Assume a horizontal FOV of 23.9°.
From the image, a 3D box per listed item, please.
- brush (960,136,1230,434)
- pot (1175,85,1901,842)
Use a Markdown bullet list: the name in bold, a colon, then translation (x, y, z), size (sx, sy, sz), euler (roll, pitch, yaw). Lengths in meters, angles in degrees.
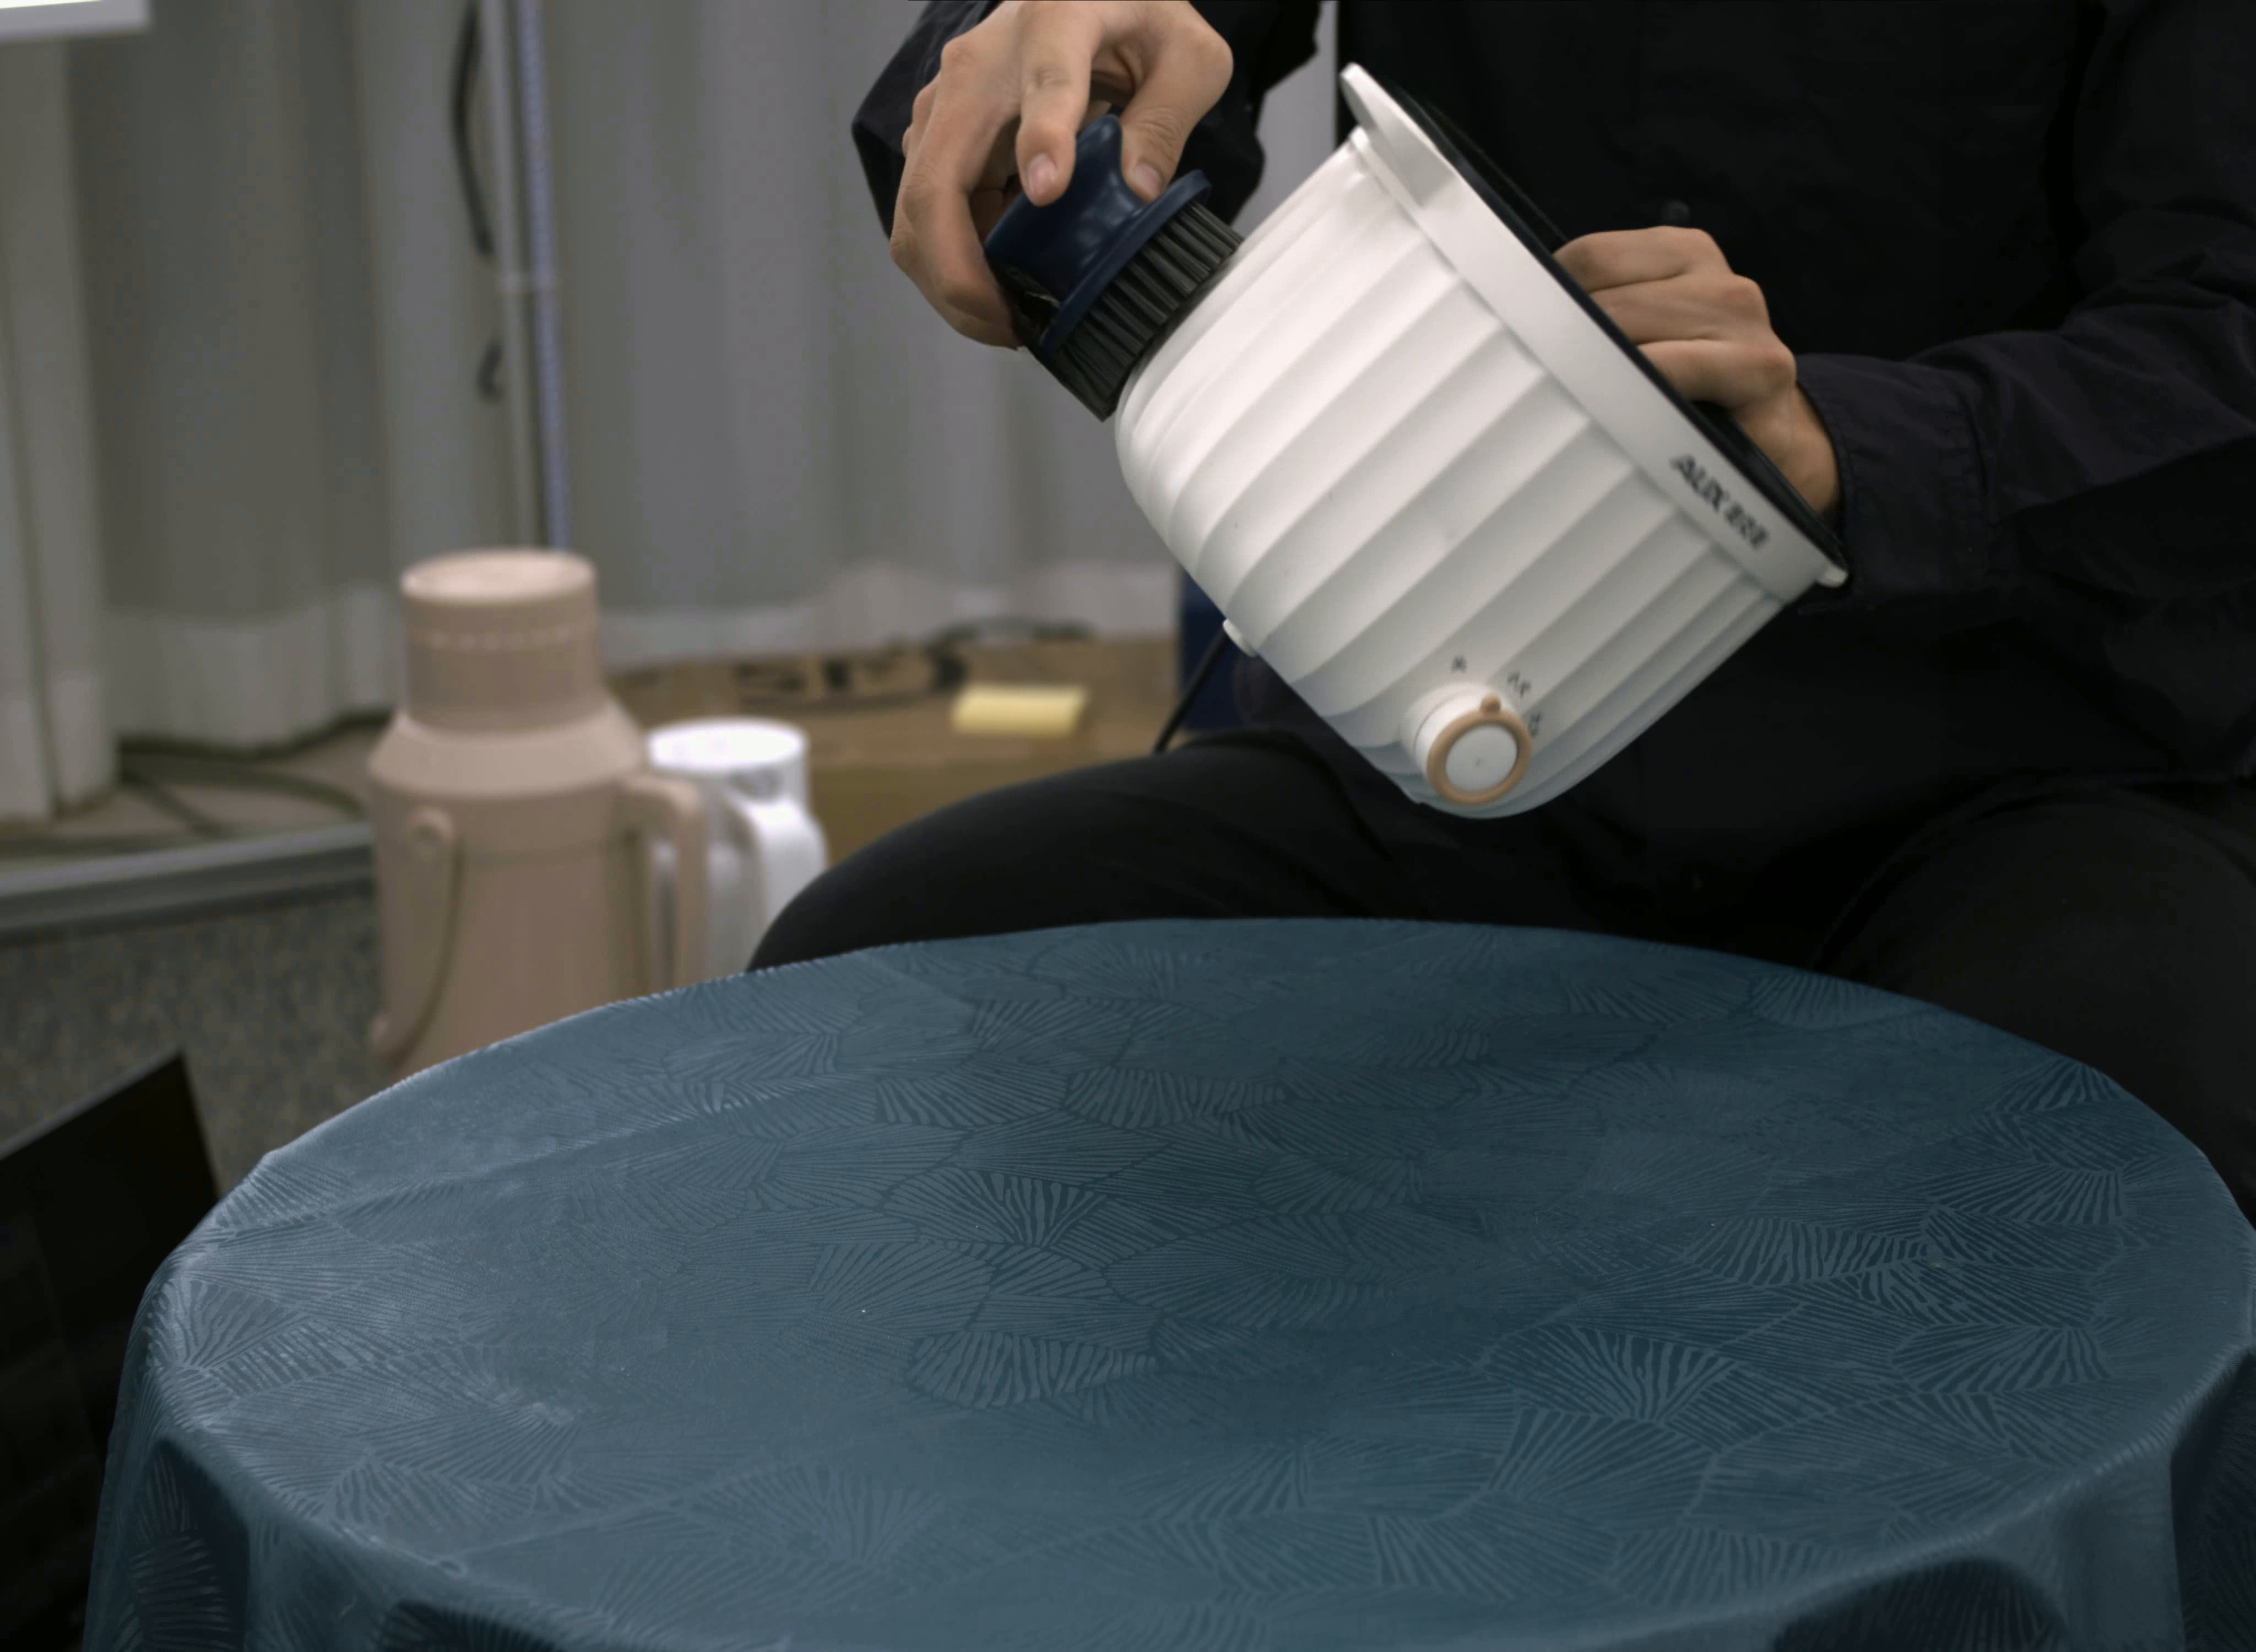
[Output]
- **brush**: translation (-0.008, -0.152, 1.537), size (0.061, 0.068, 0.121), euler (39, -5, 0)
- **pot**: translation (0.110, -0.087, 1.495), size (0.235, 0.143, 0.194), euler (39, 11, -37)
